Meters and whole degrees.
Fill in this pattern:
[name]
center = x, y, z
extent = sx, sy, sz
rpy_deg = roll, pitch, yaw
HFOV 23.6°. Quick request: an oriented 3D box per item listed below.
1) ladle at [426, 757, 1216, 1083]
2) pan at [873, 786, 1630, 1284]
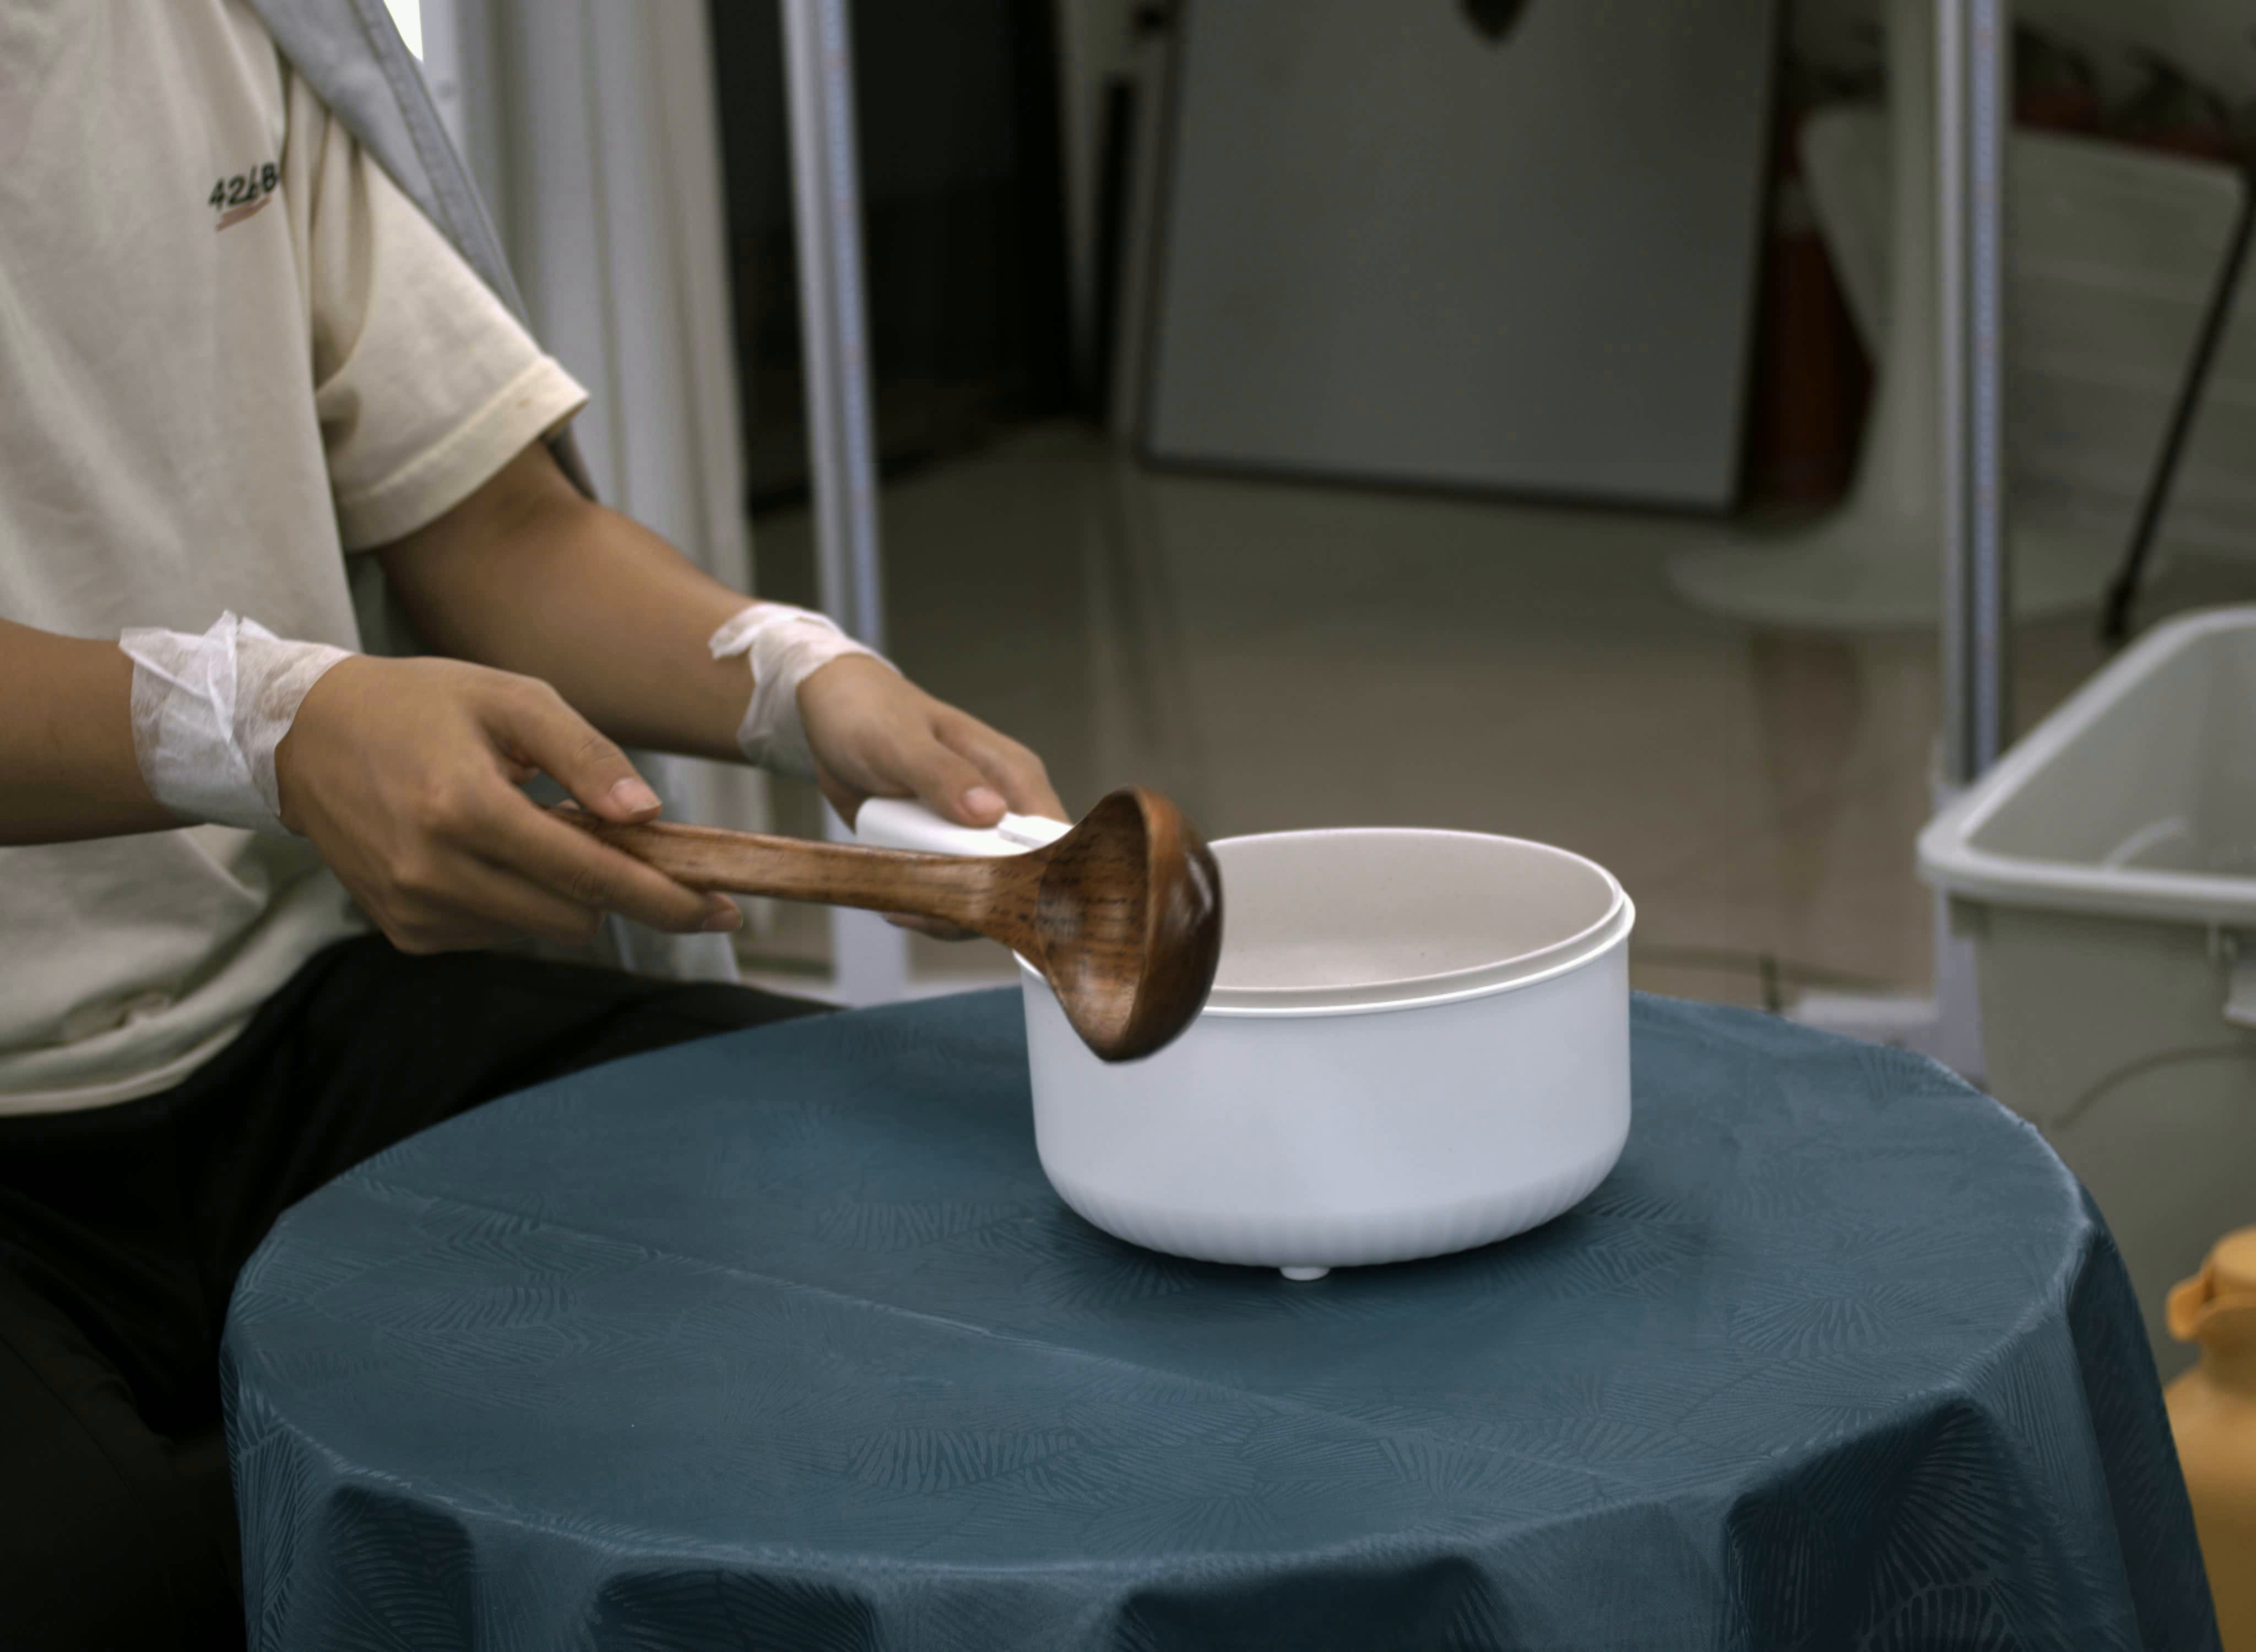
[ladle]
center = -0.098, 0.016, 1.582
extent = 0.274, 0.083, 0.076
rpy_deg = 10, 2, 20
[pan]
center = 0.022, 0.062, 1.800
extent = 0.197, 0.103, 0.358
rpy_deg = -13, 16, -31
